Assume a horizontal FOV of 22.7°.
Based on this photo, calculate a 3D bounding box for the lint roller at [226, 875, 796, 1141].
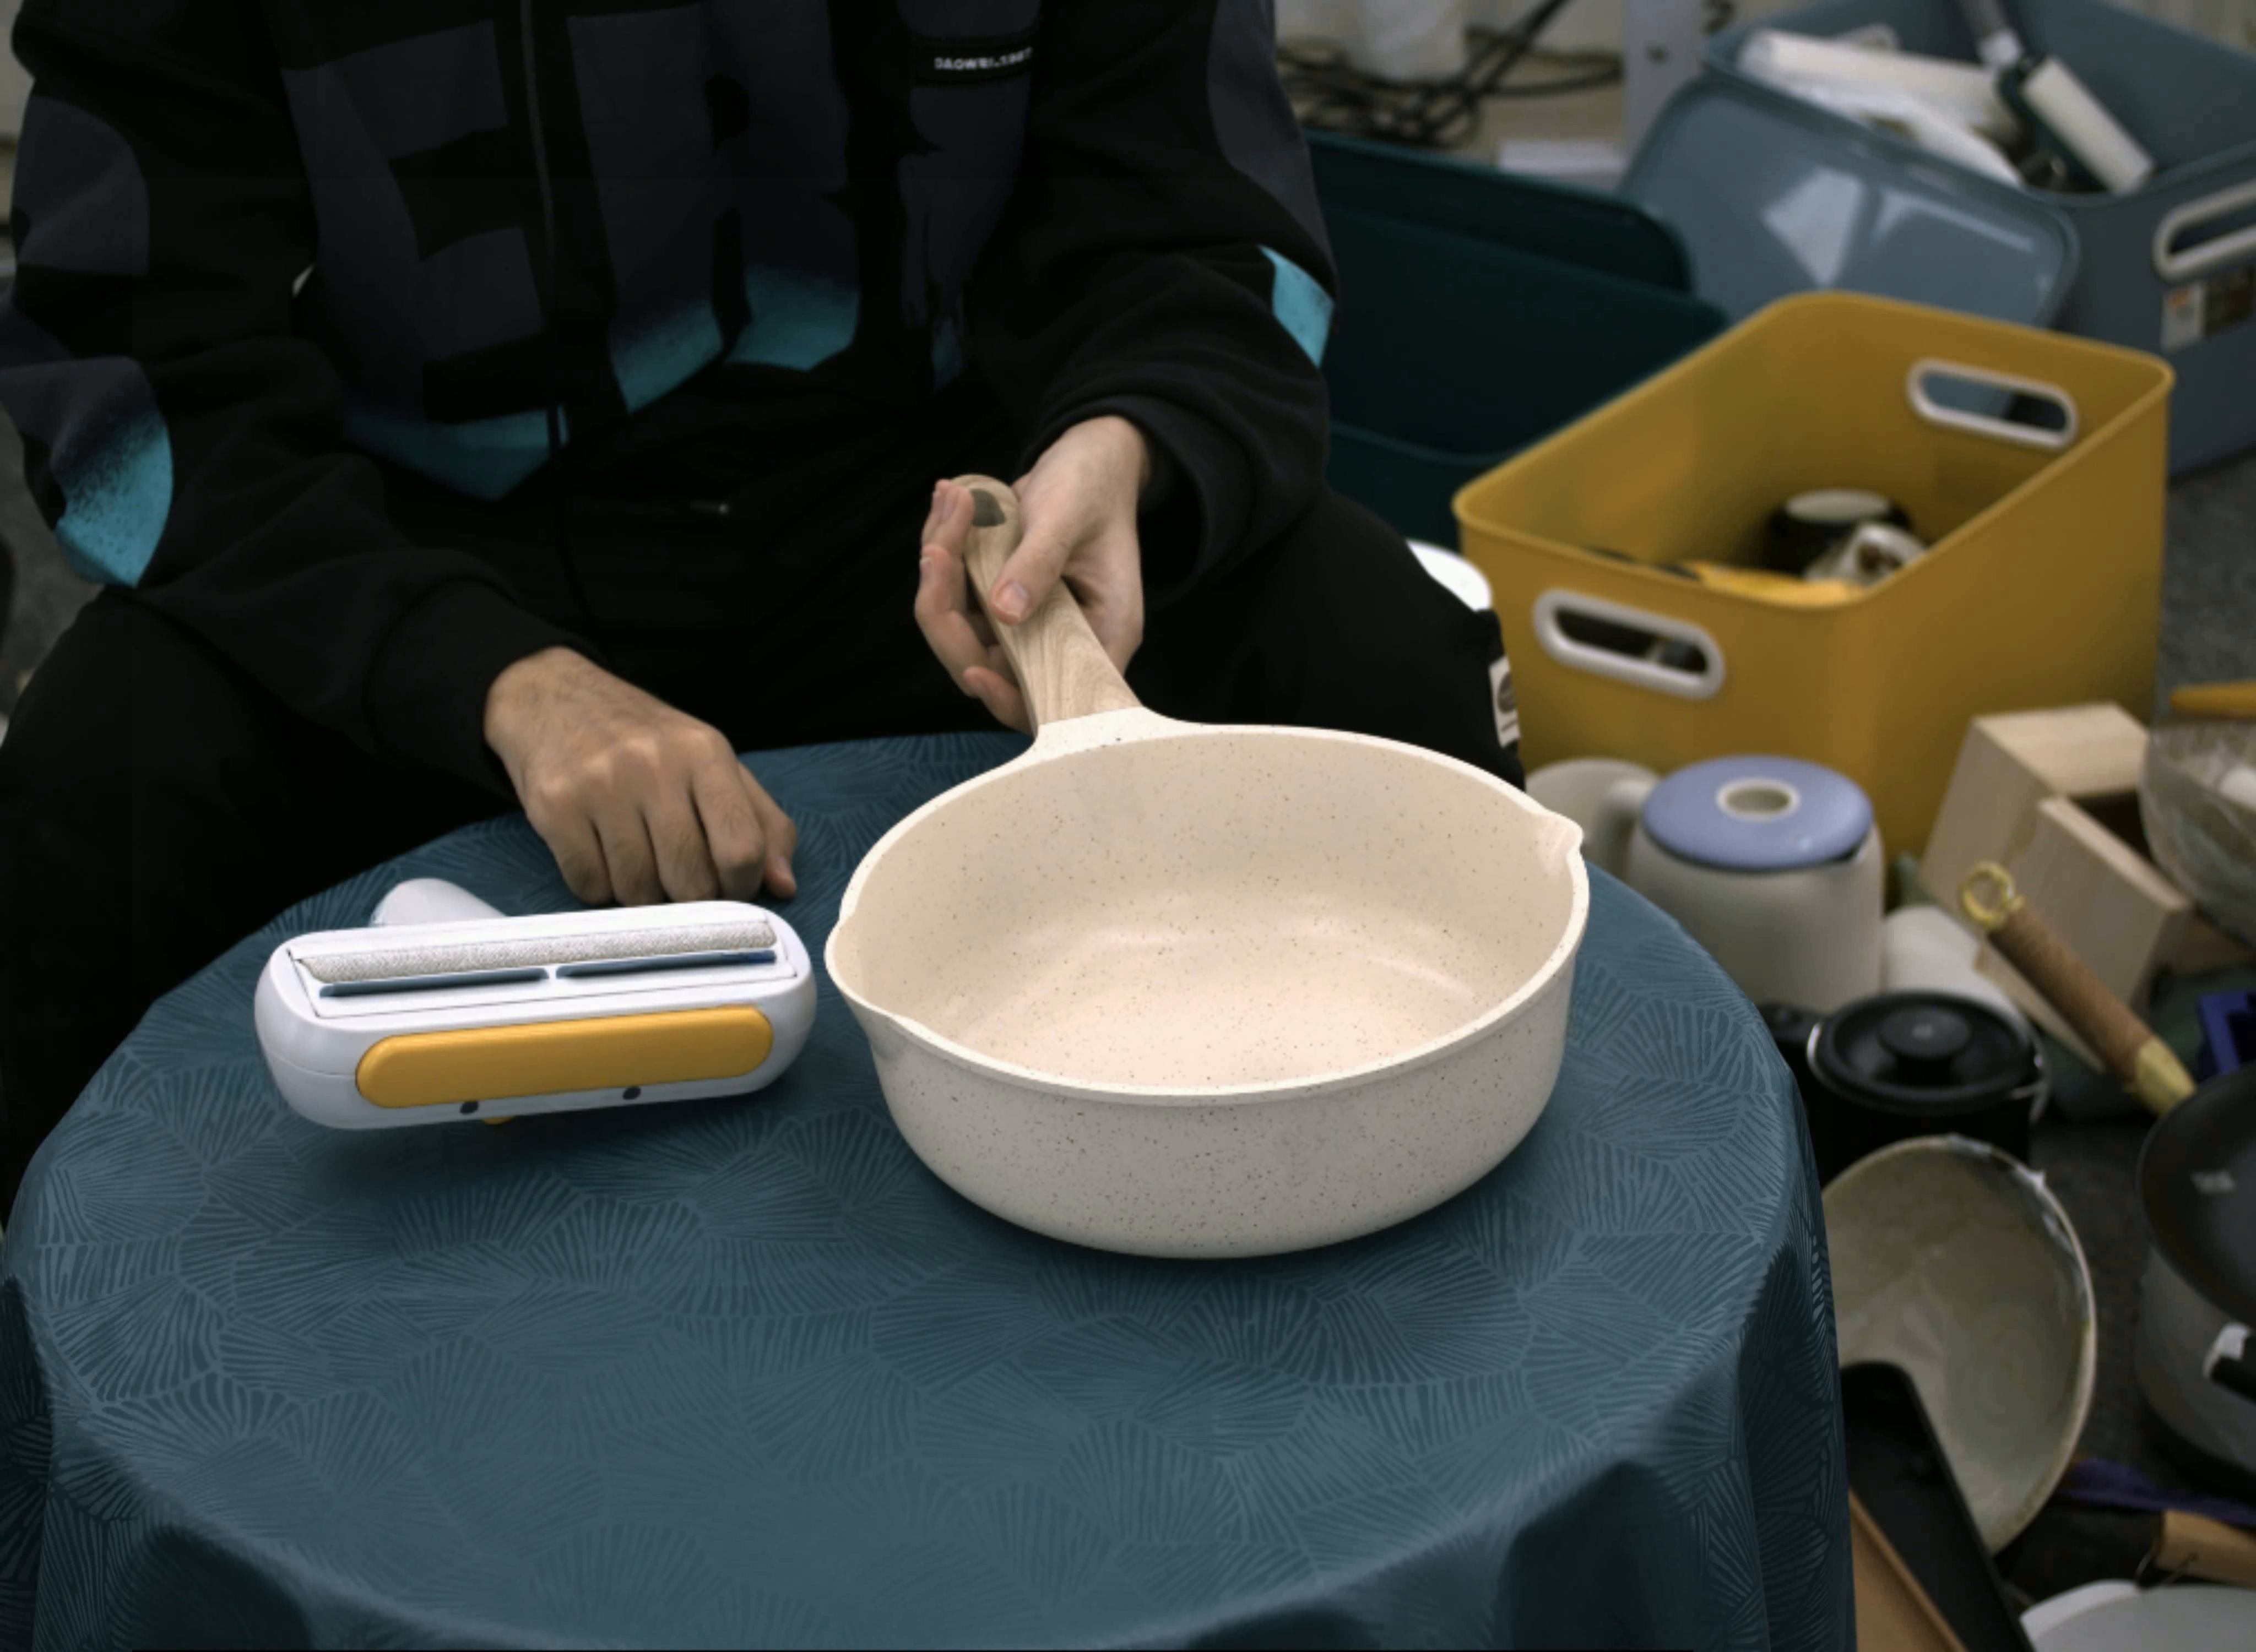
[{"bbox_3d":[-0.226,0.048,1.951,0.193,0.073,0.194,-6,25,-19],"label":"lint roller"}]

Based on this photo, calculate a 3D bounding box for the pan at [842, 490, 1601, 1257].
[{"bbox_3d":[0.007,0.011,1.965,0.263,0.101,0.439,-13,29,-13],"label":"pan"}]
